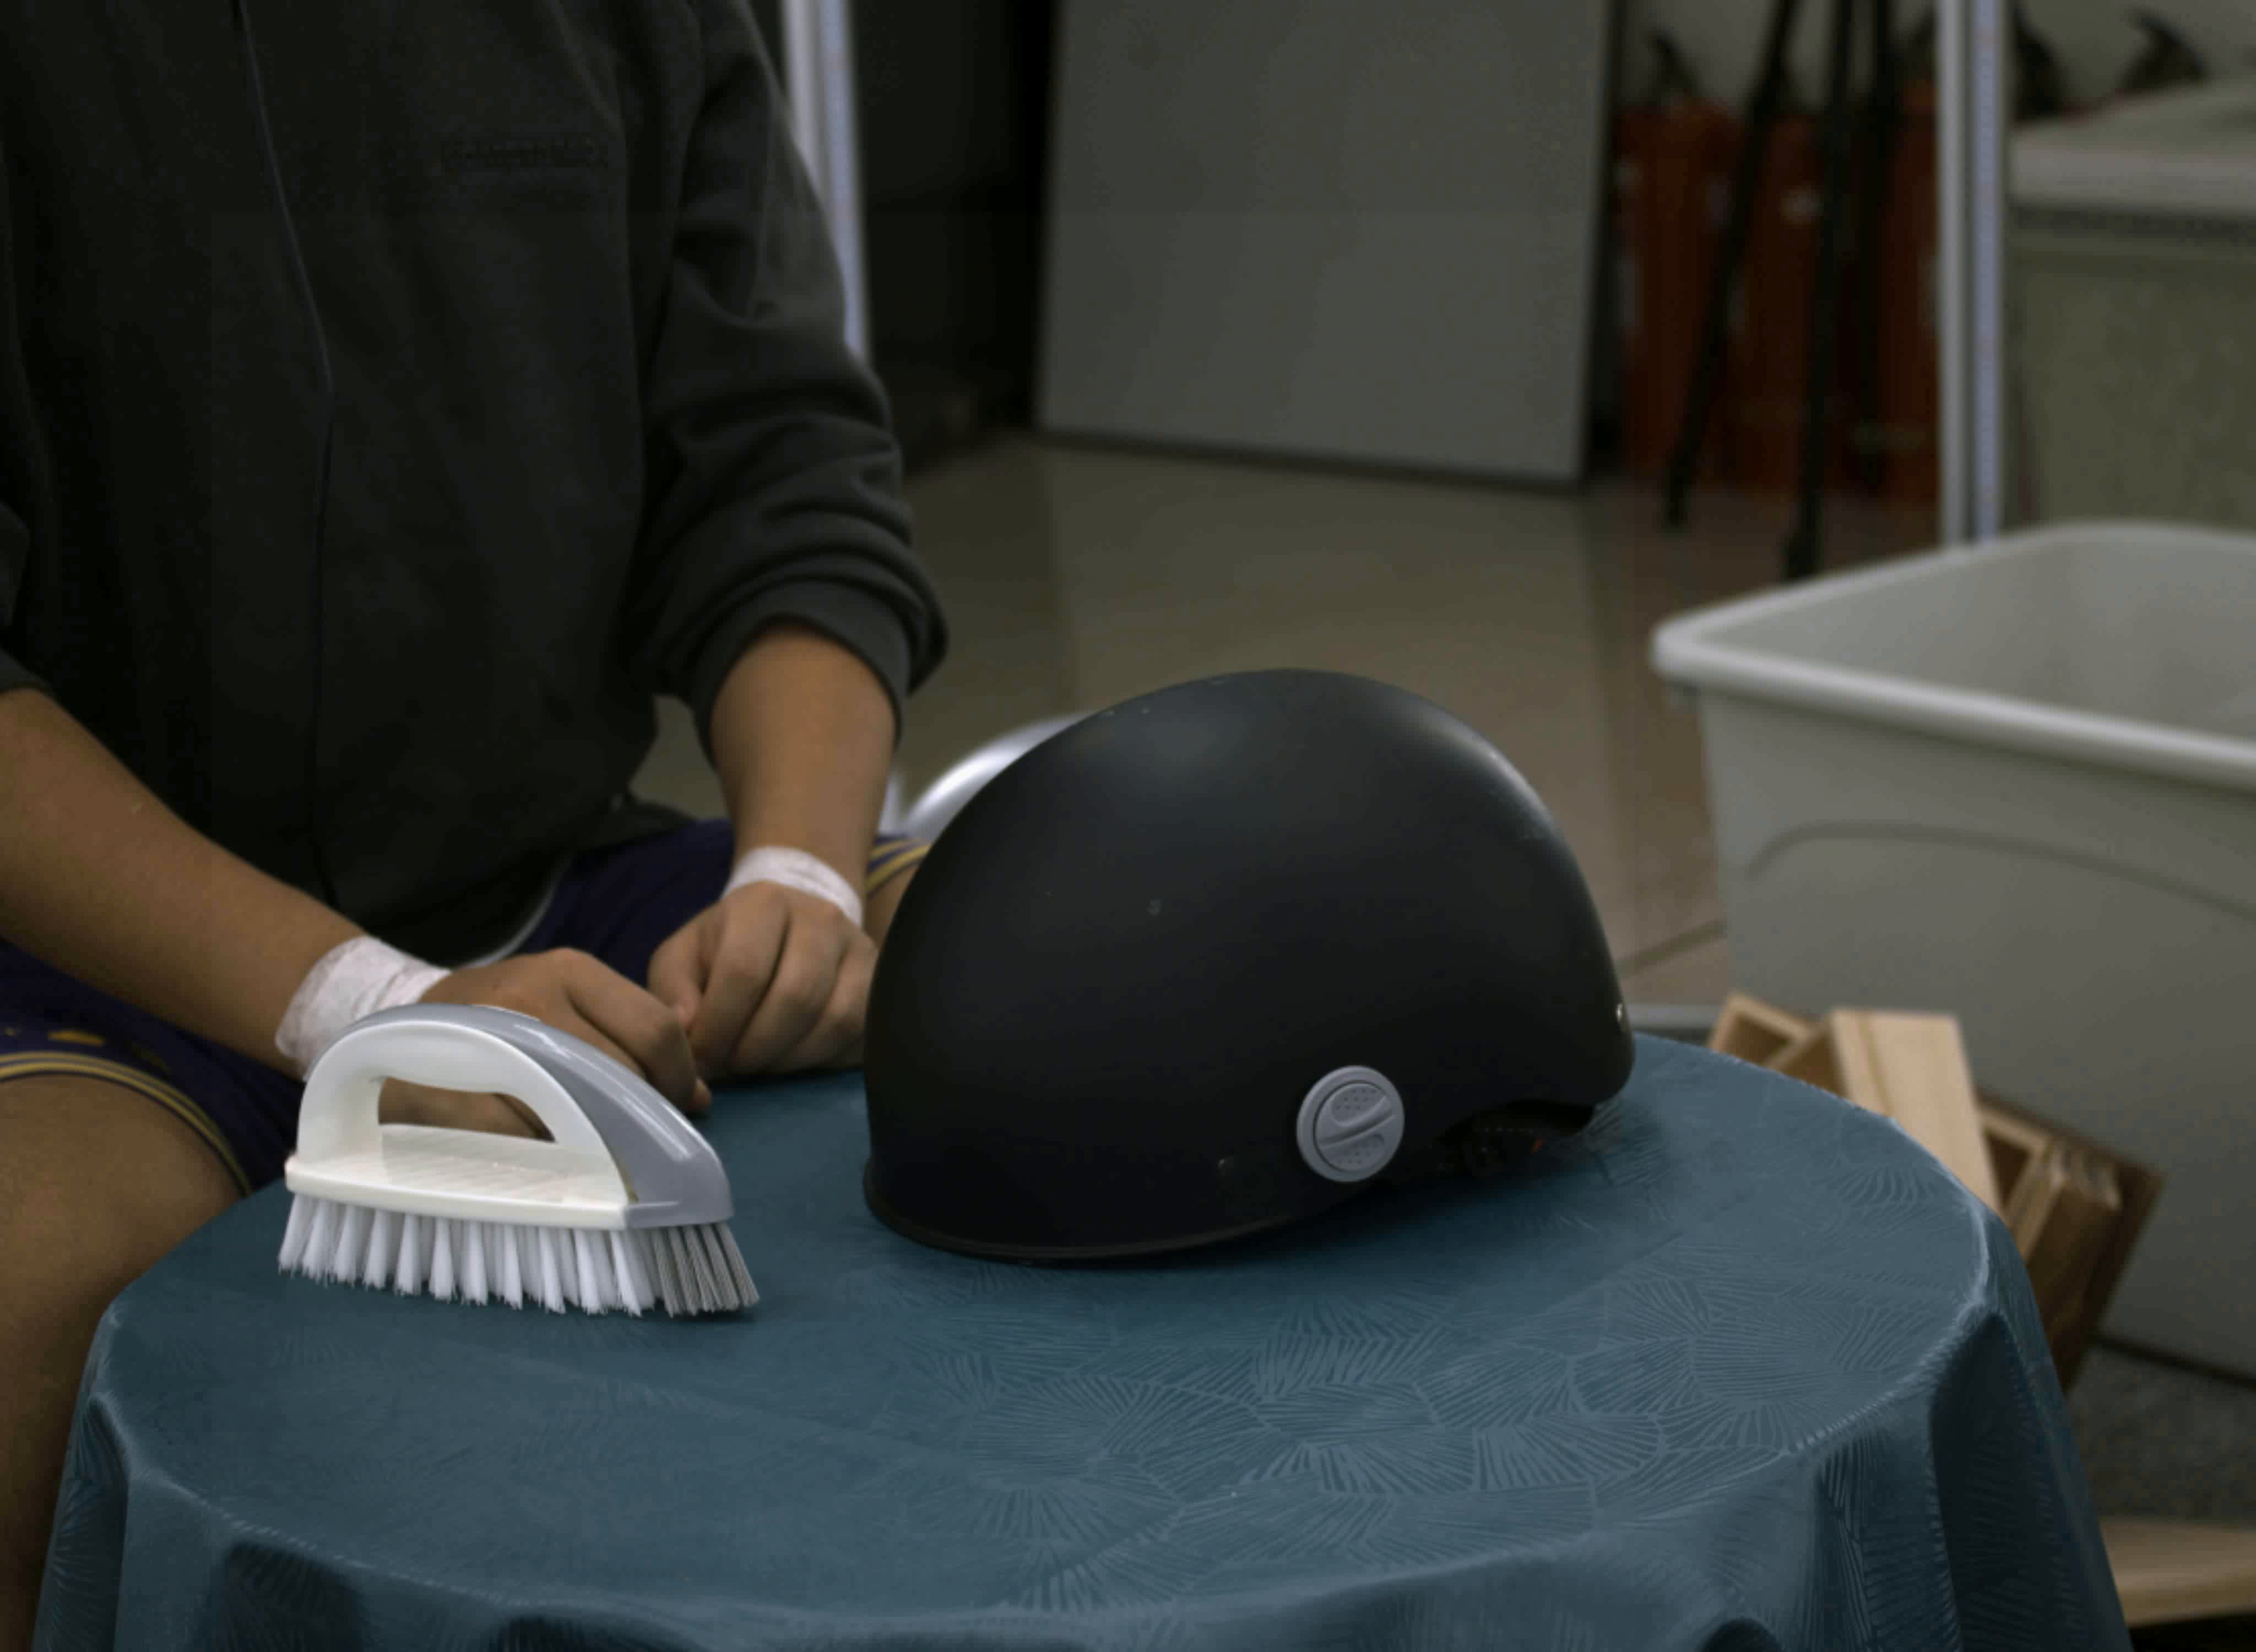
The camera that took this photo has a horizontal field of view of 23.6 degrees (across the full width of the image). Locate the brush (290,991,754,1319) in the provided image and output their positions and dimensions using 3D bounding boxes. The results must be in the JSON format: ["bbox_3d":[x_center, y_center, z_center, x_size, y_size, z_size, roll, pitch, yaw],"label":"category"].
[{"bbox_3d":[-0.191,0.102,1.711,0.176,0.095,0.060,8,18,34],"label":"brush"}]

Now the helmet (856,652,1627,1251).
[{"bbox_3d":[0.032,0.032,1.786,0.267,0.168,0.232,-15,16,-31],"label":"helmet"}]
